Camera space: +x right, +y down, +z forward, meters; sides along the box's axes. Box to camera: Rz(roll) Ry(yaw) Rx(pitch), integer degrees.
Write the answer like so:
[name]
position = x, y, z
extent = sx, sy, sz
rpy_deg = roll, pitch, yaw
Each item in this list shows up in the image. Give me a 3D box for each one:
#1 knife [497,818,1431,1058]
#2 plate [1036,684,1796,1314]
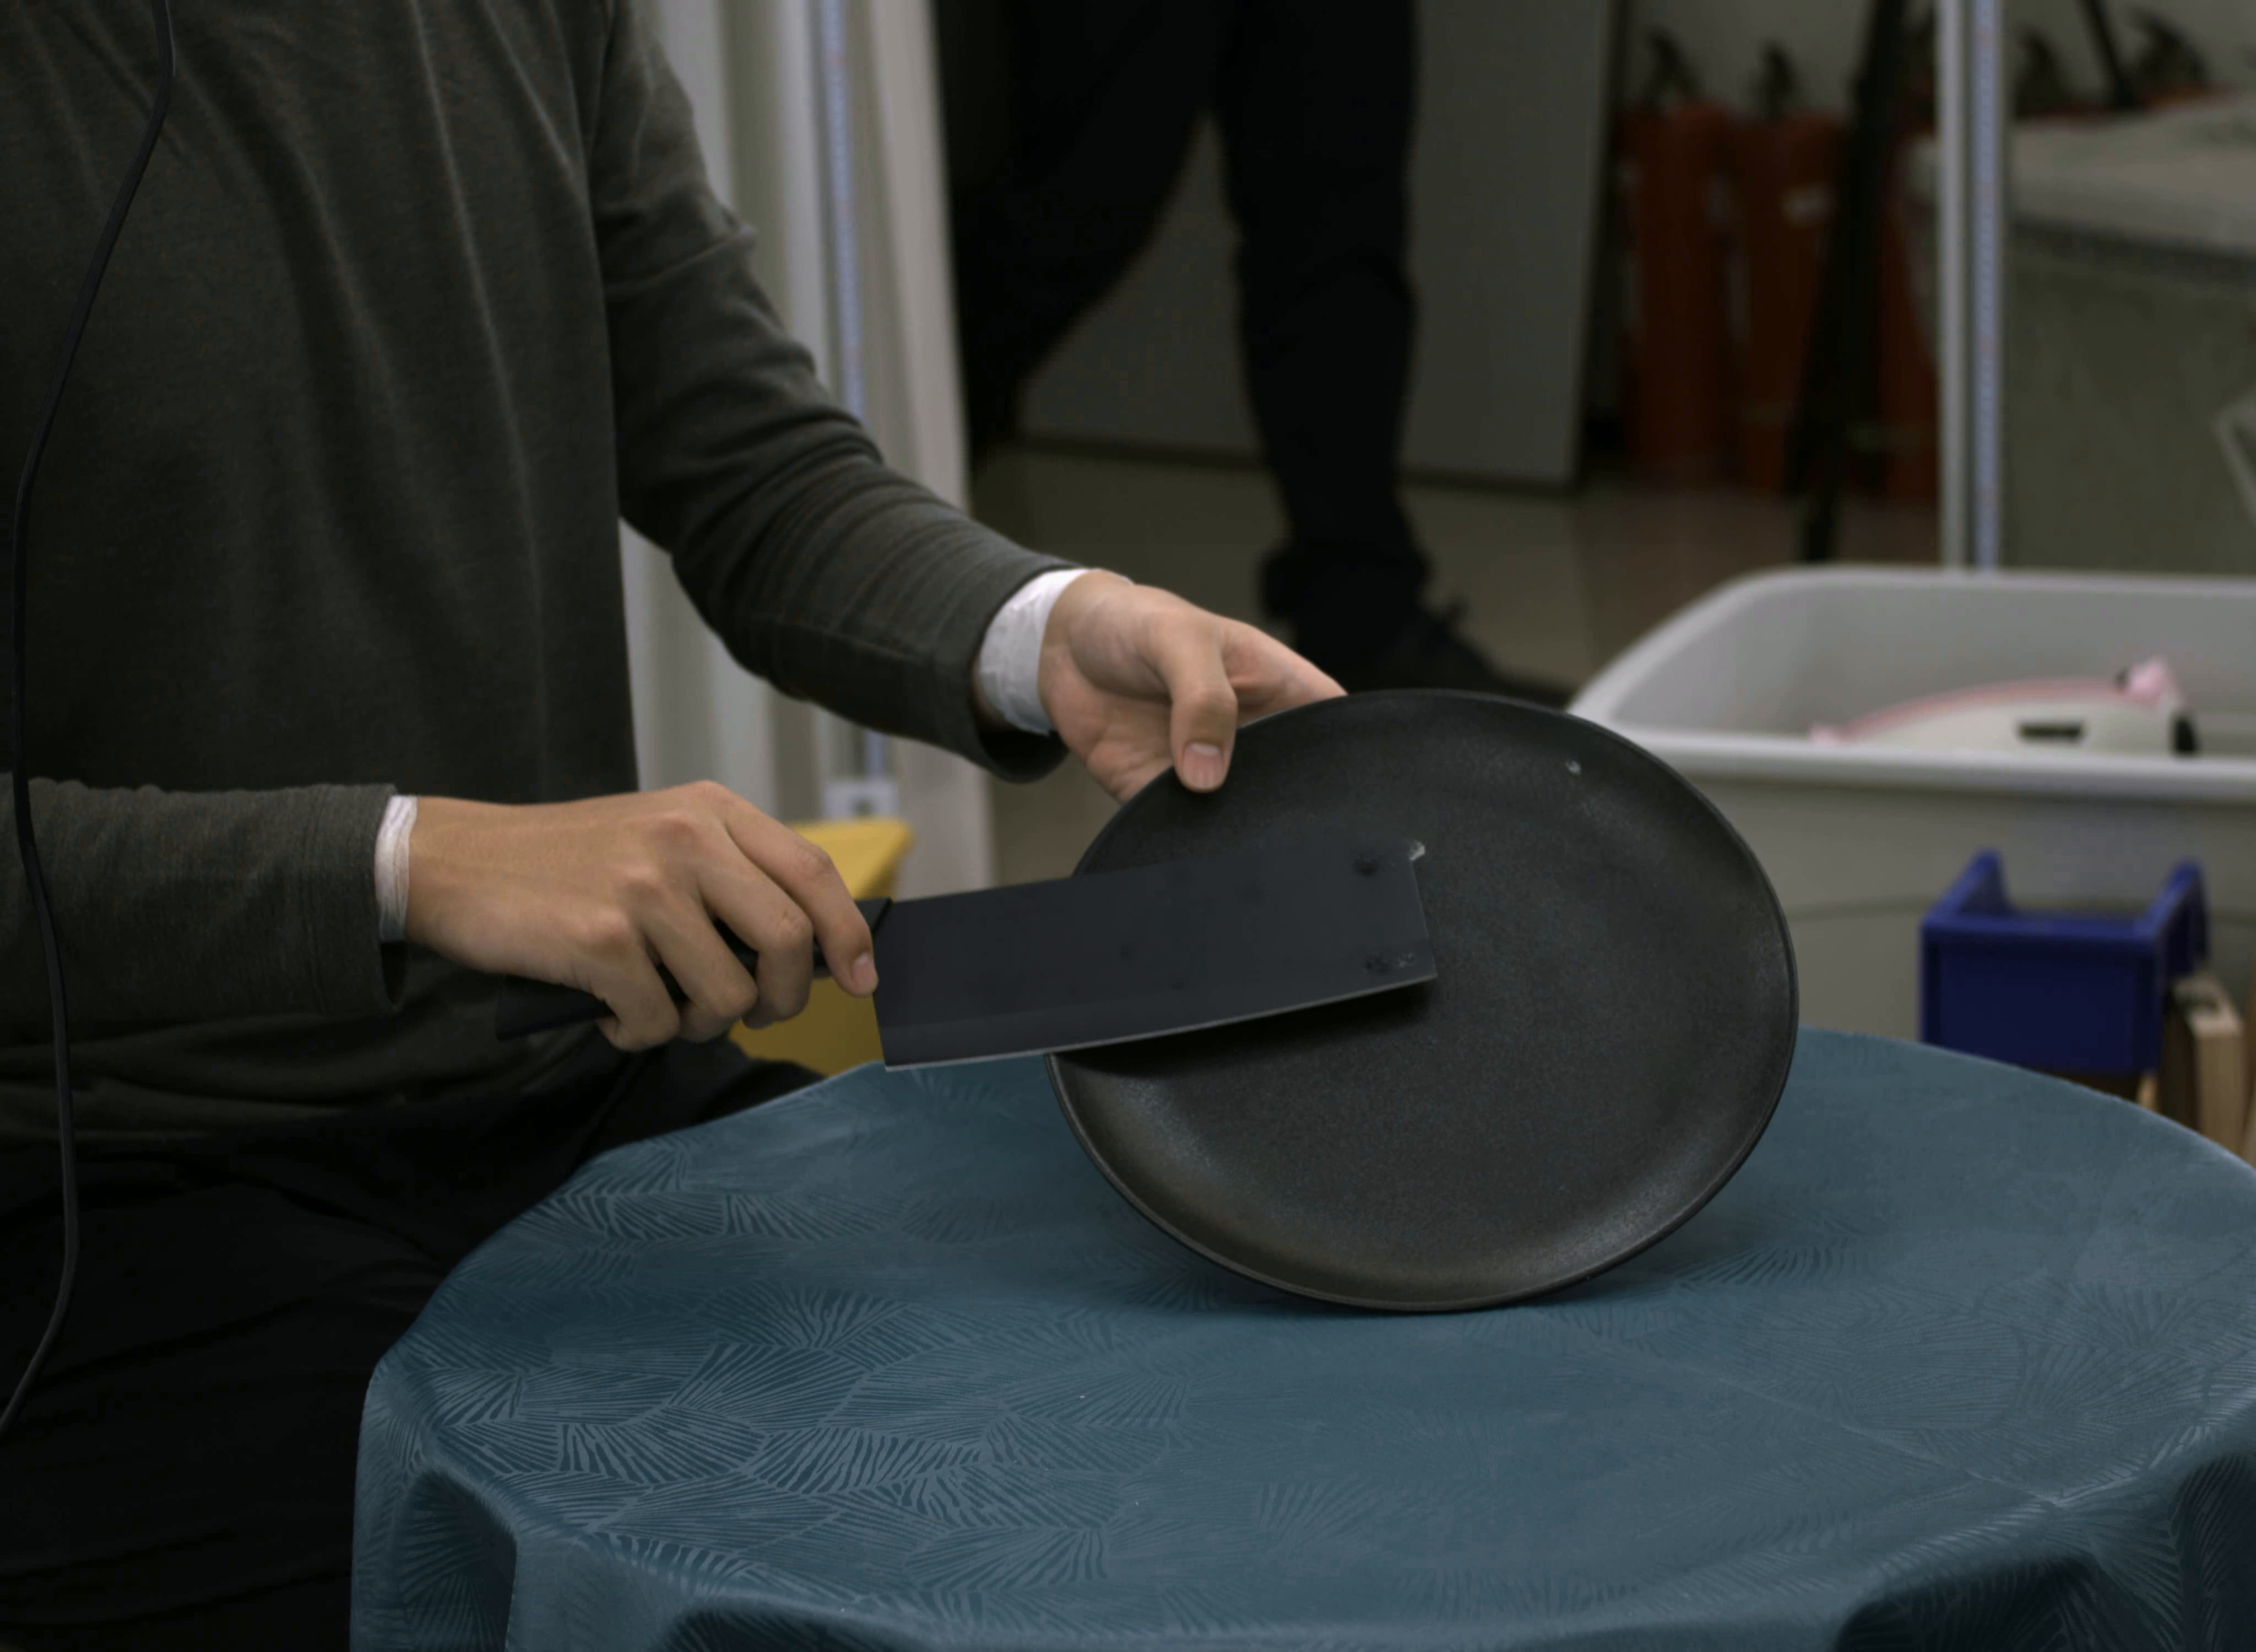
[knife]
position = -0.053, 0.042, 1.727
extent = 0.298, 0.021, 0.082
rpy_deg = -6, 51, 0
[plate]
position = 0.092, 0.057, 1.715
extent = 0.241, 0.023, 0.247
rpy_deg = -3, 52, 3
